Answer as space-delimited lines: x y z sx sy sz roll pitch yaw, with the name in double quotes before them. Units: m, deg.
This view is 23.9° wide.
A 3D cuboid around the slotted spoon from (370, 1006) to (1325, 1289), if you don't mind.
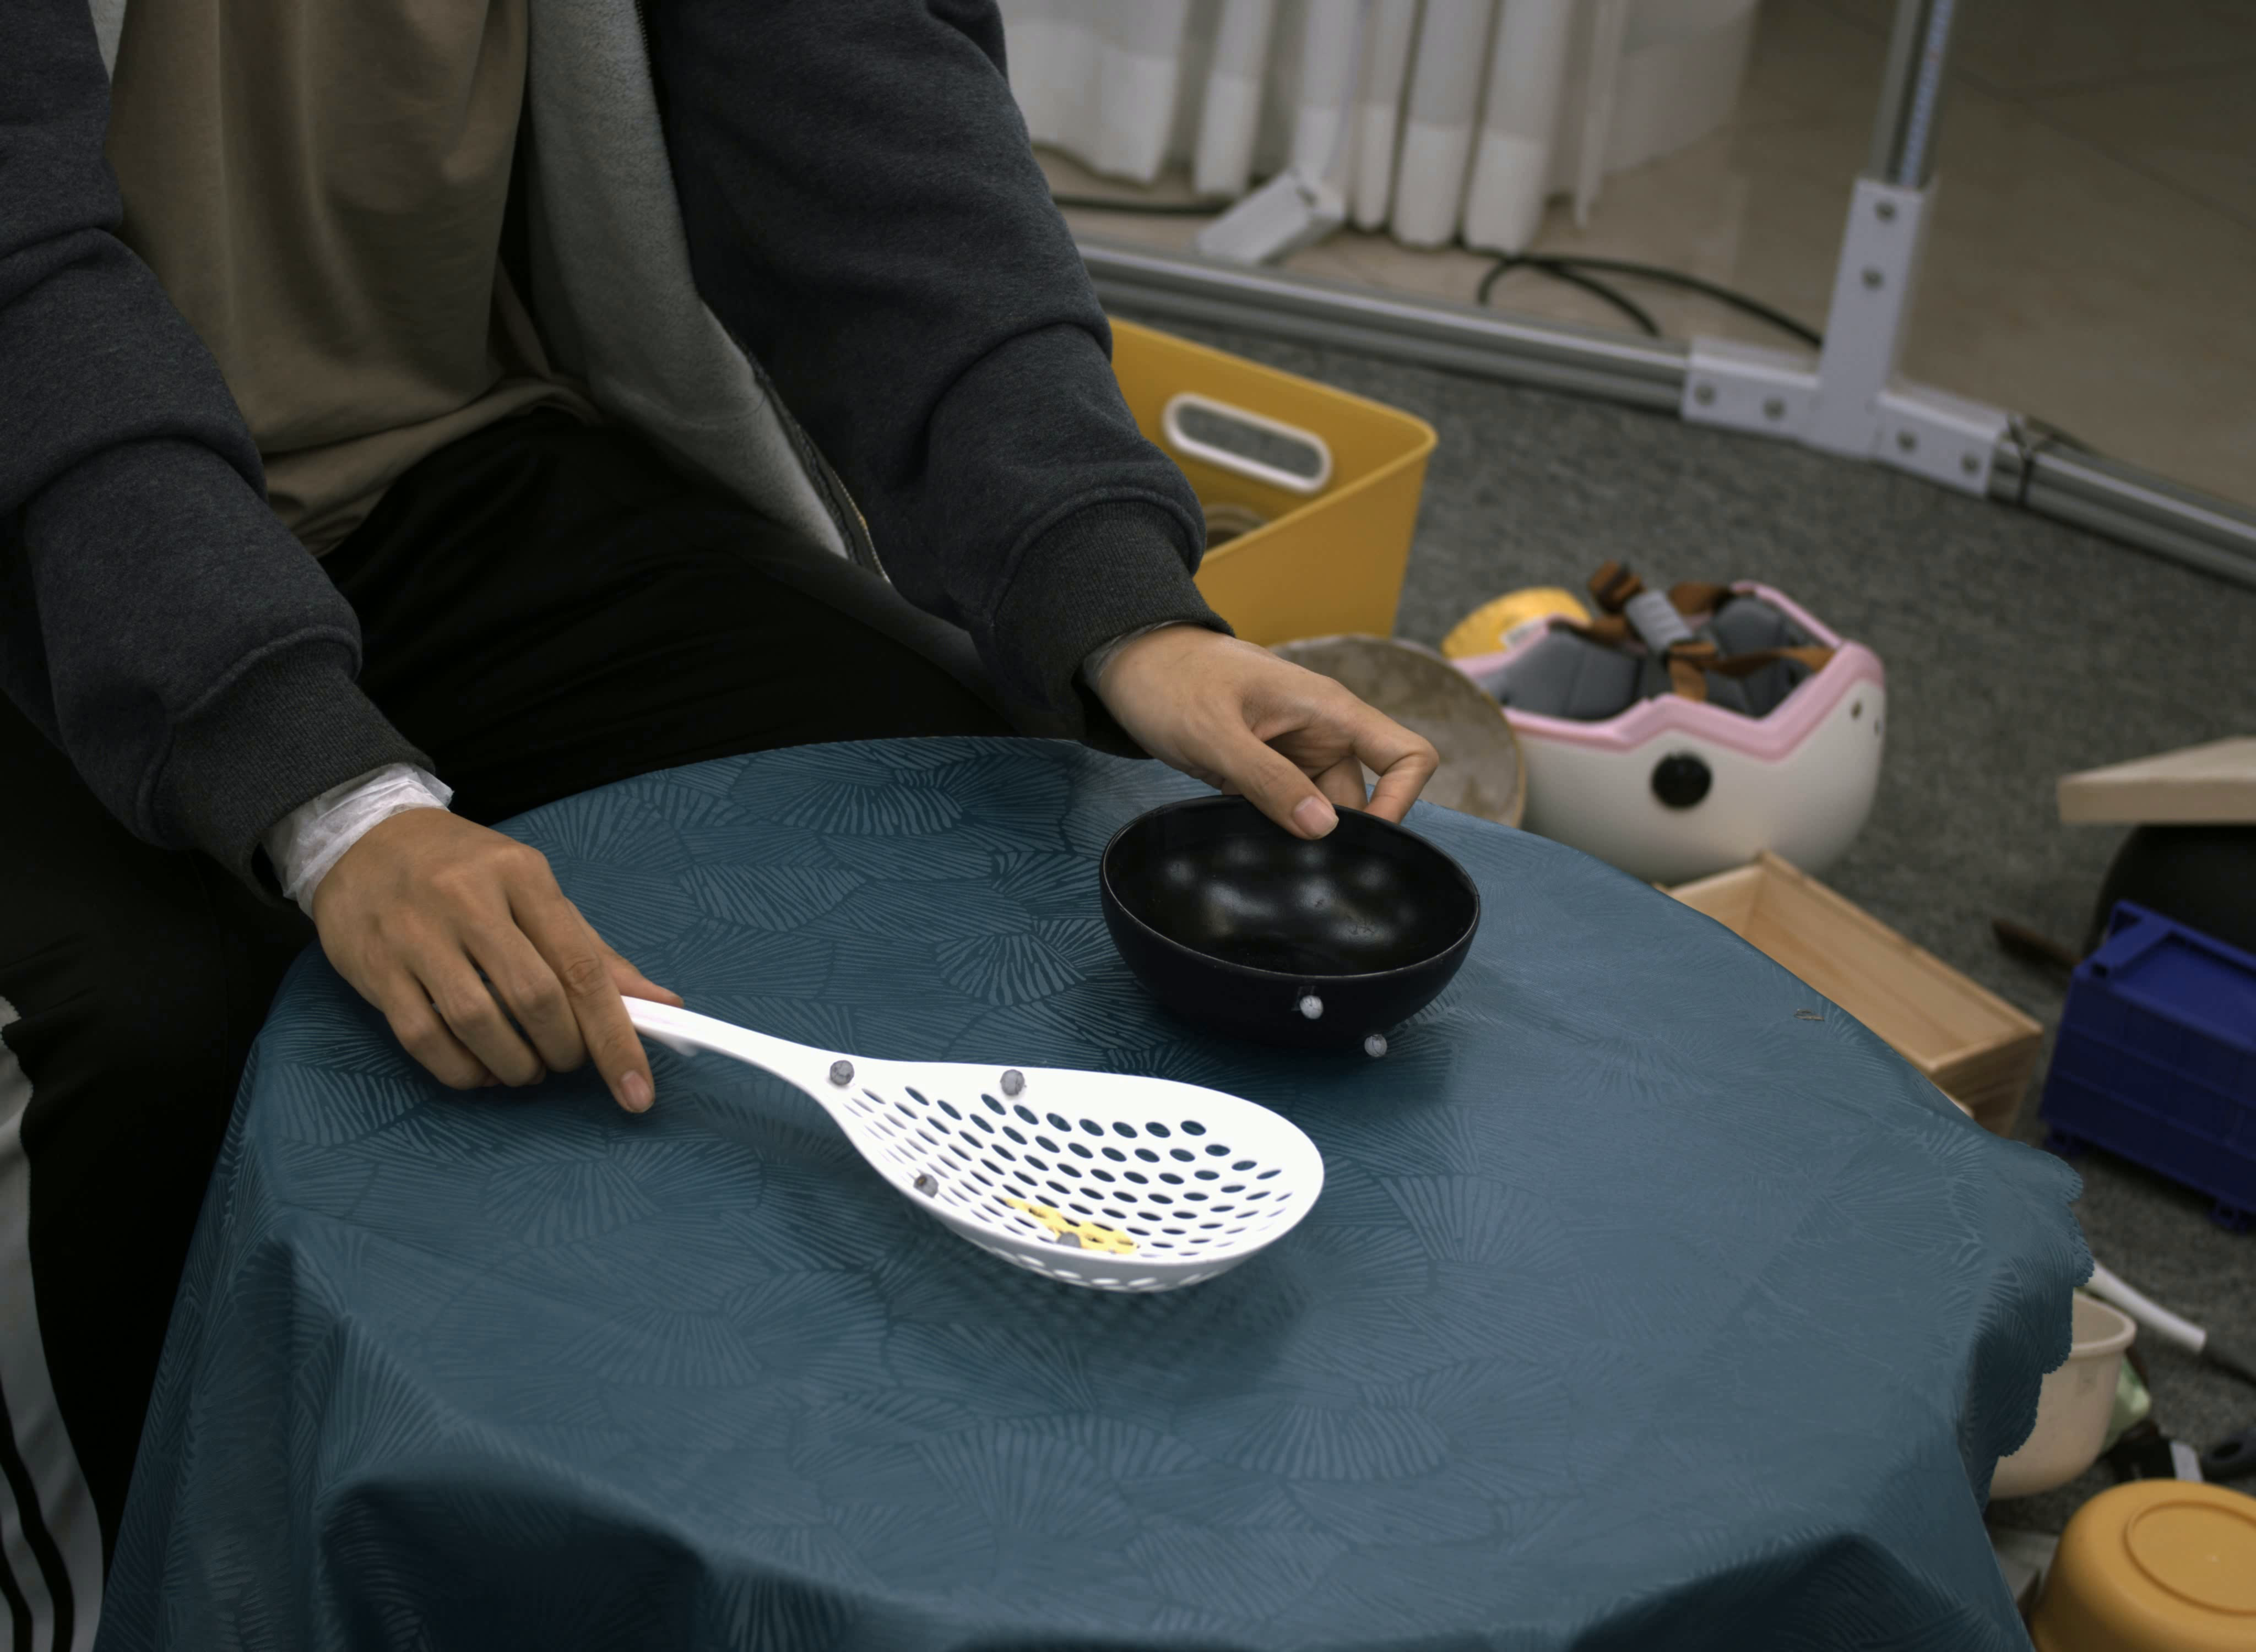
"slotted spoon" -0.102 0.094 1.792 0.349 0.050 0.136 17 29 21
